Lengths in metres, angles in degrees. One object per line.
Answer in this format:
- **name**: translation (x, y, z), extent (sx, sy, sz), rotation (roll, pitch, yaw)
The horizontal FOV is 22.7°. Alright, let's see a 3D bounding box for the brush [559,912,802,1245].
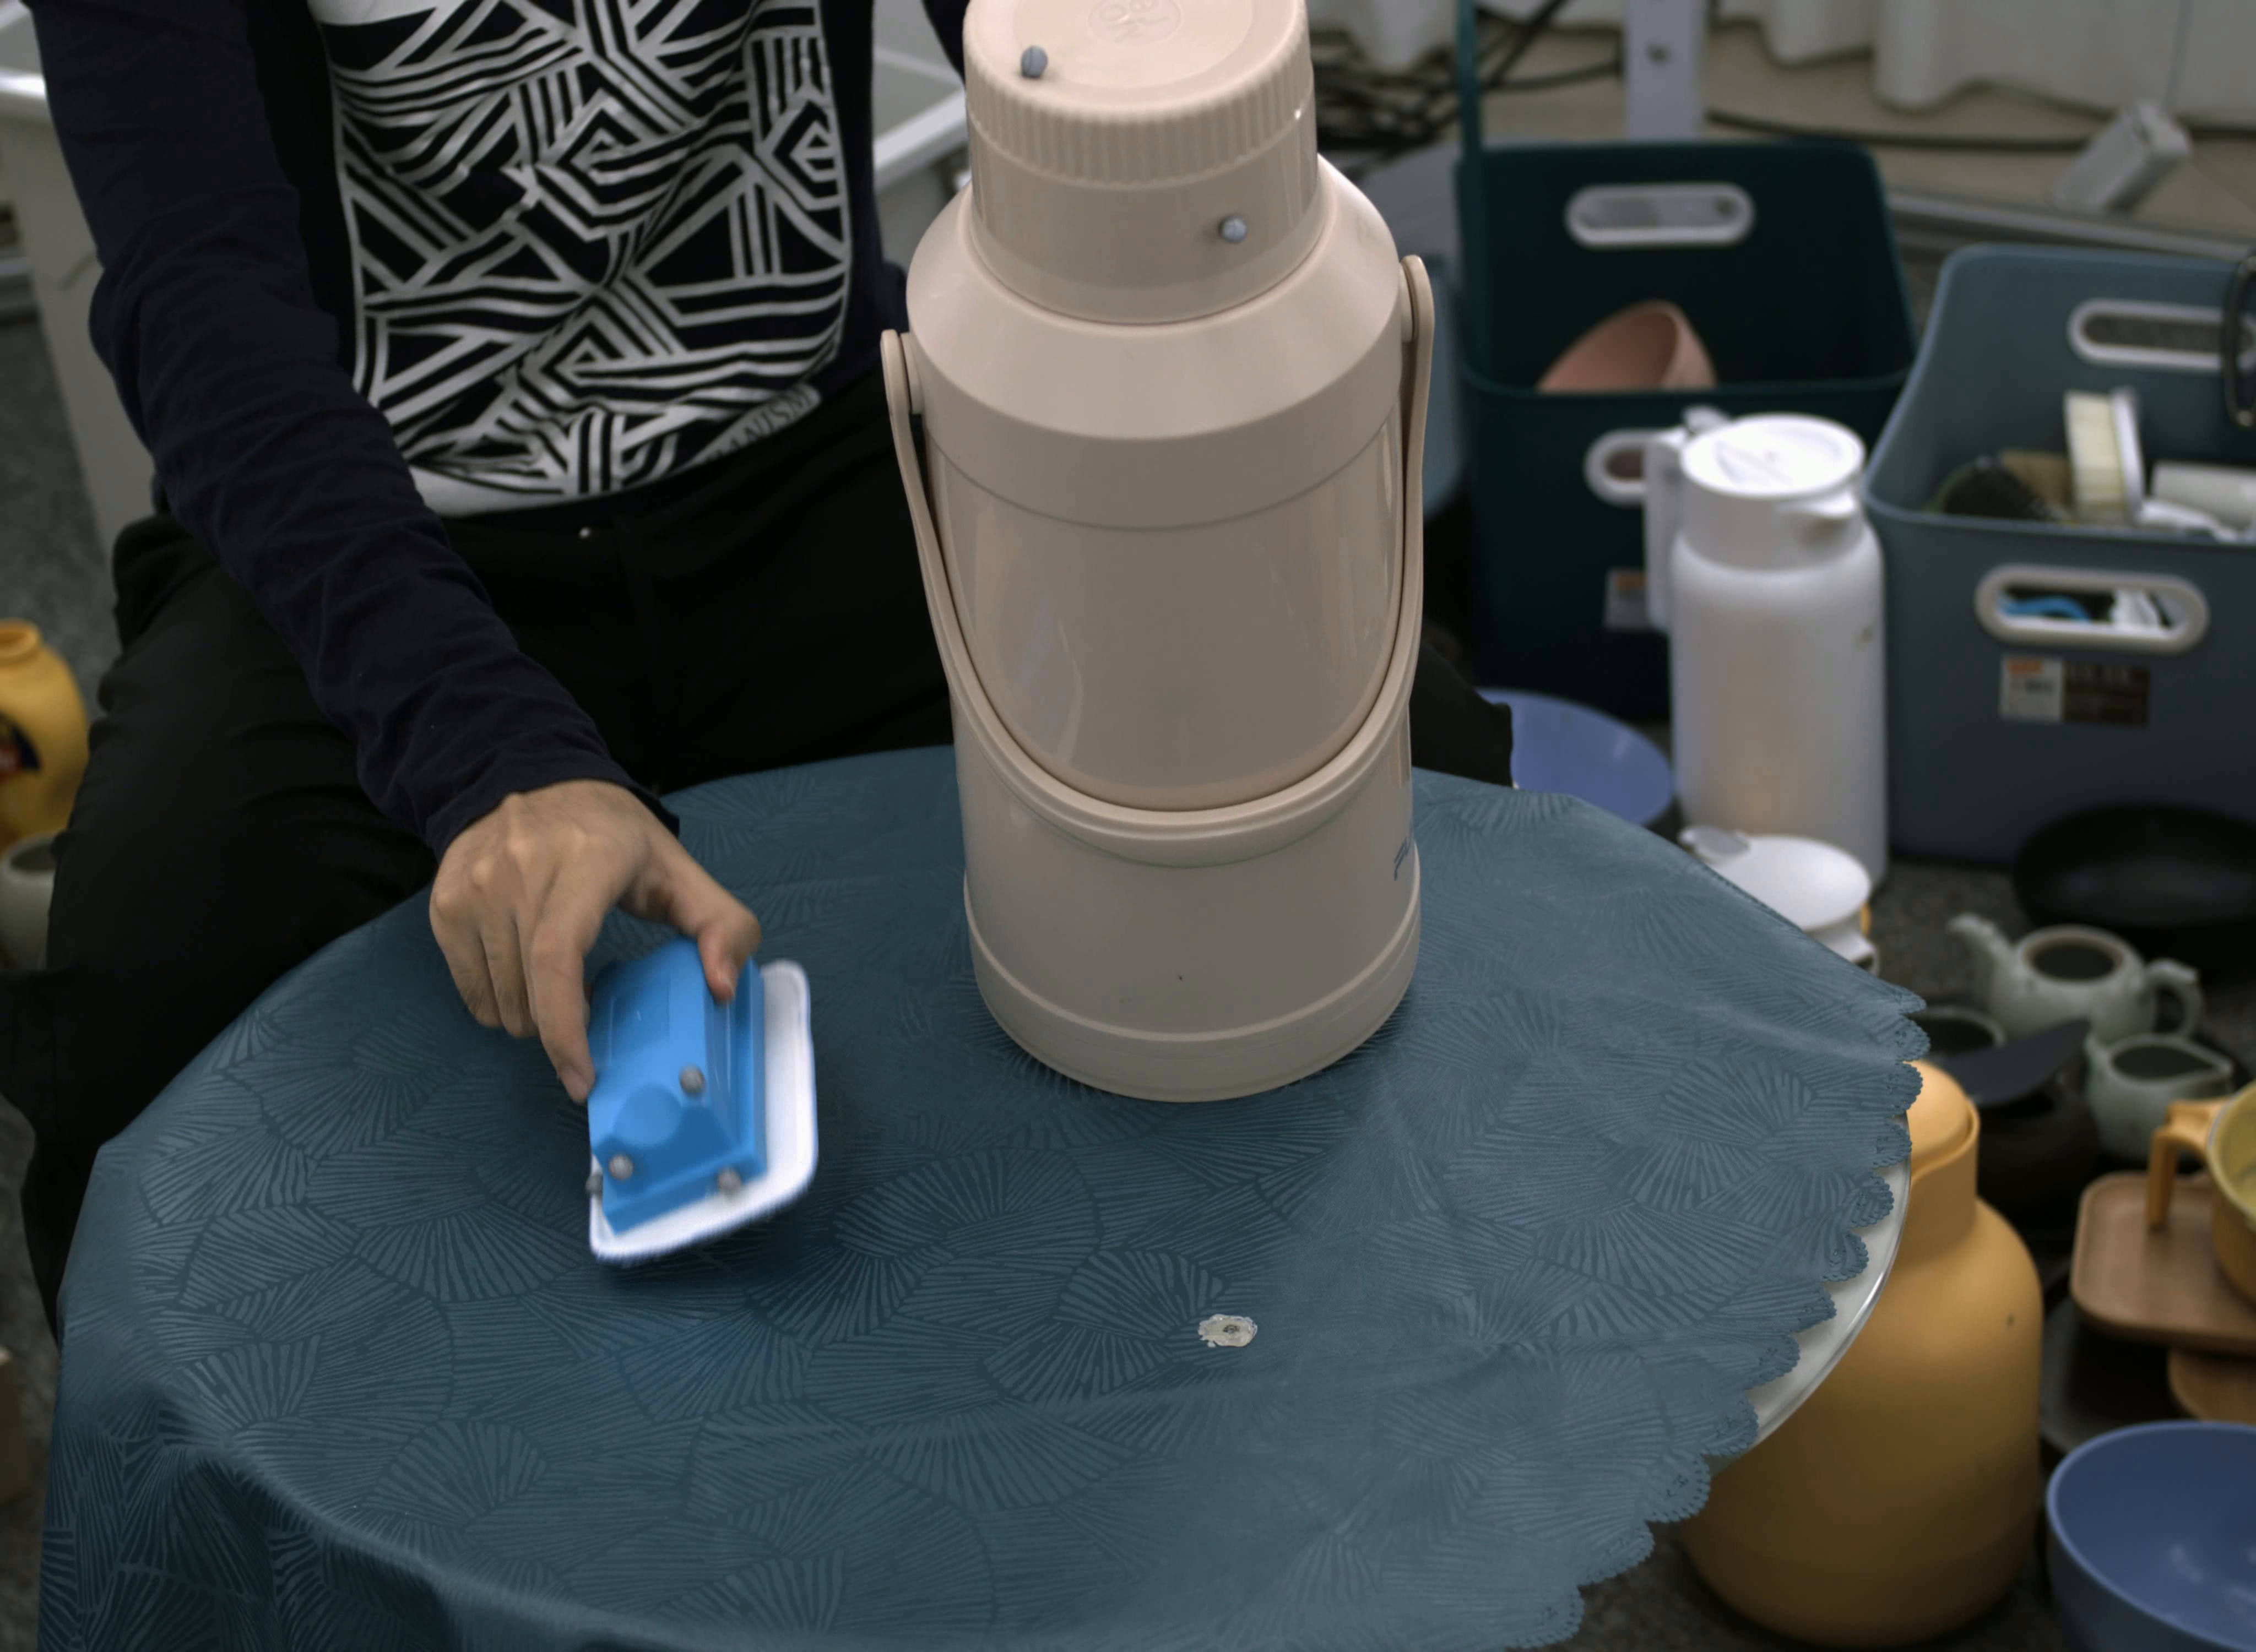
- **brush**: translation (-0.153, 0.078, 1.861), extent (0.083, 0.055, 0.146), rotation (-17, 33, 6)

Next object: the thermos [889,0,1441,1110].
- **thermos**: translation (0.015, -0.112, 1.847), extent (0.175, 0.400, 0.210), rotation (-10, 42, -4)
